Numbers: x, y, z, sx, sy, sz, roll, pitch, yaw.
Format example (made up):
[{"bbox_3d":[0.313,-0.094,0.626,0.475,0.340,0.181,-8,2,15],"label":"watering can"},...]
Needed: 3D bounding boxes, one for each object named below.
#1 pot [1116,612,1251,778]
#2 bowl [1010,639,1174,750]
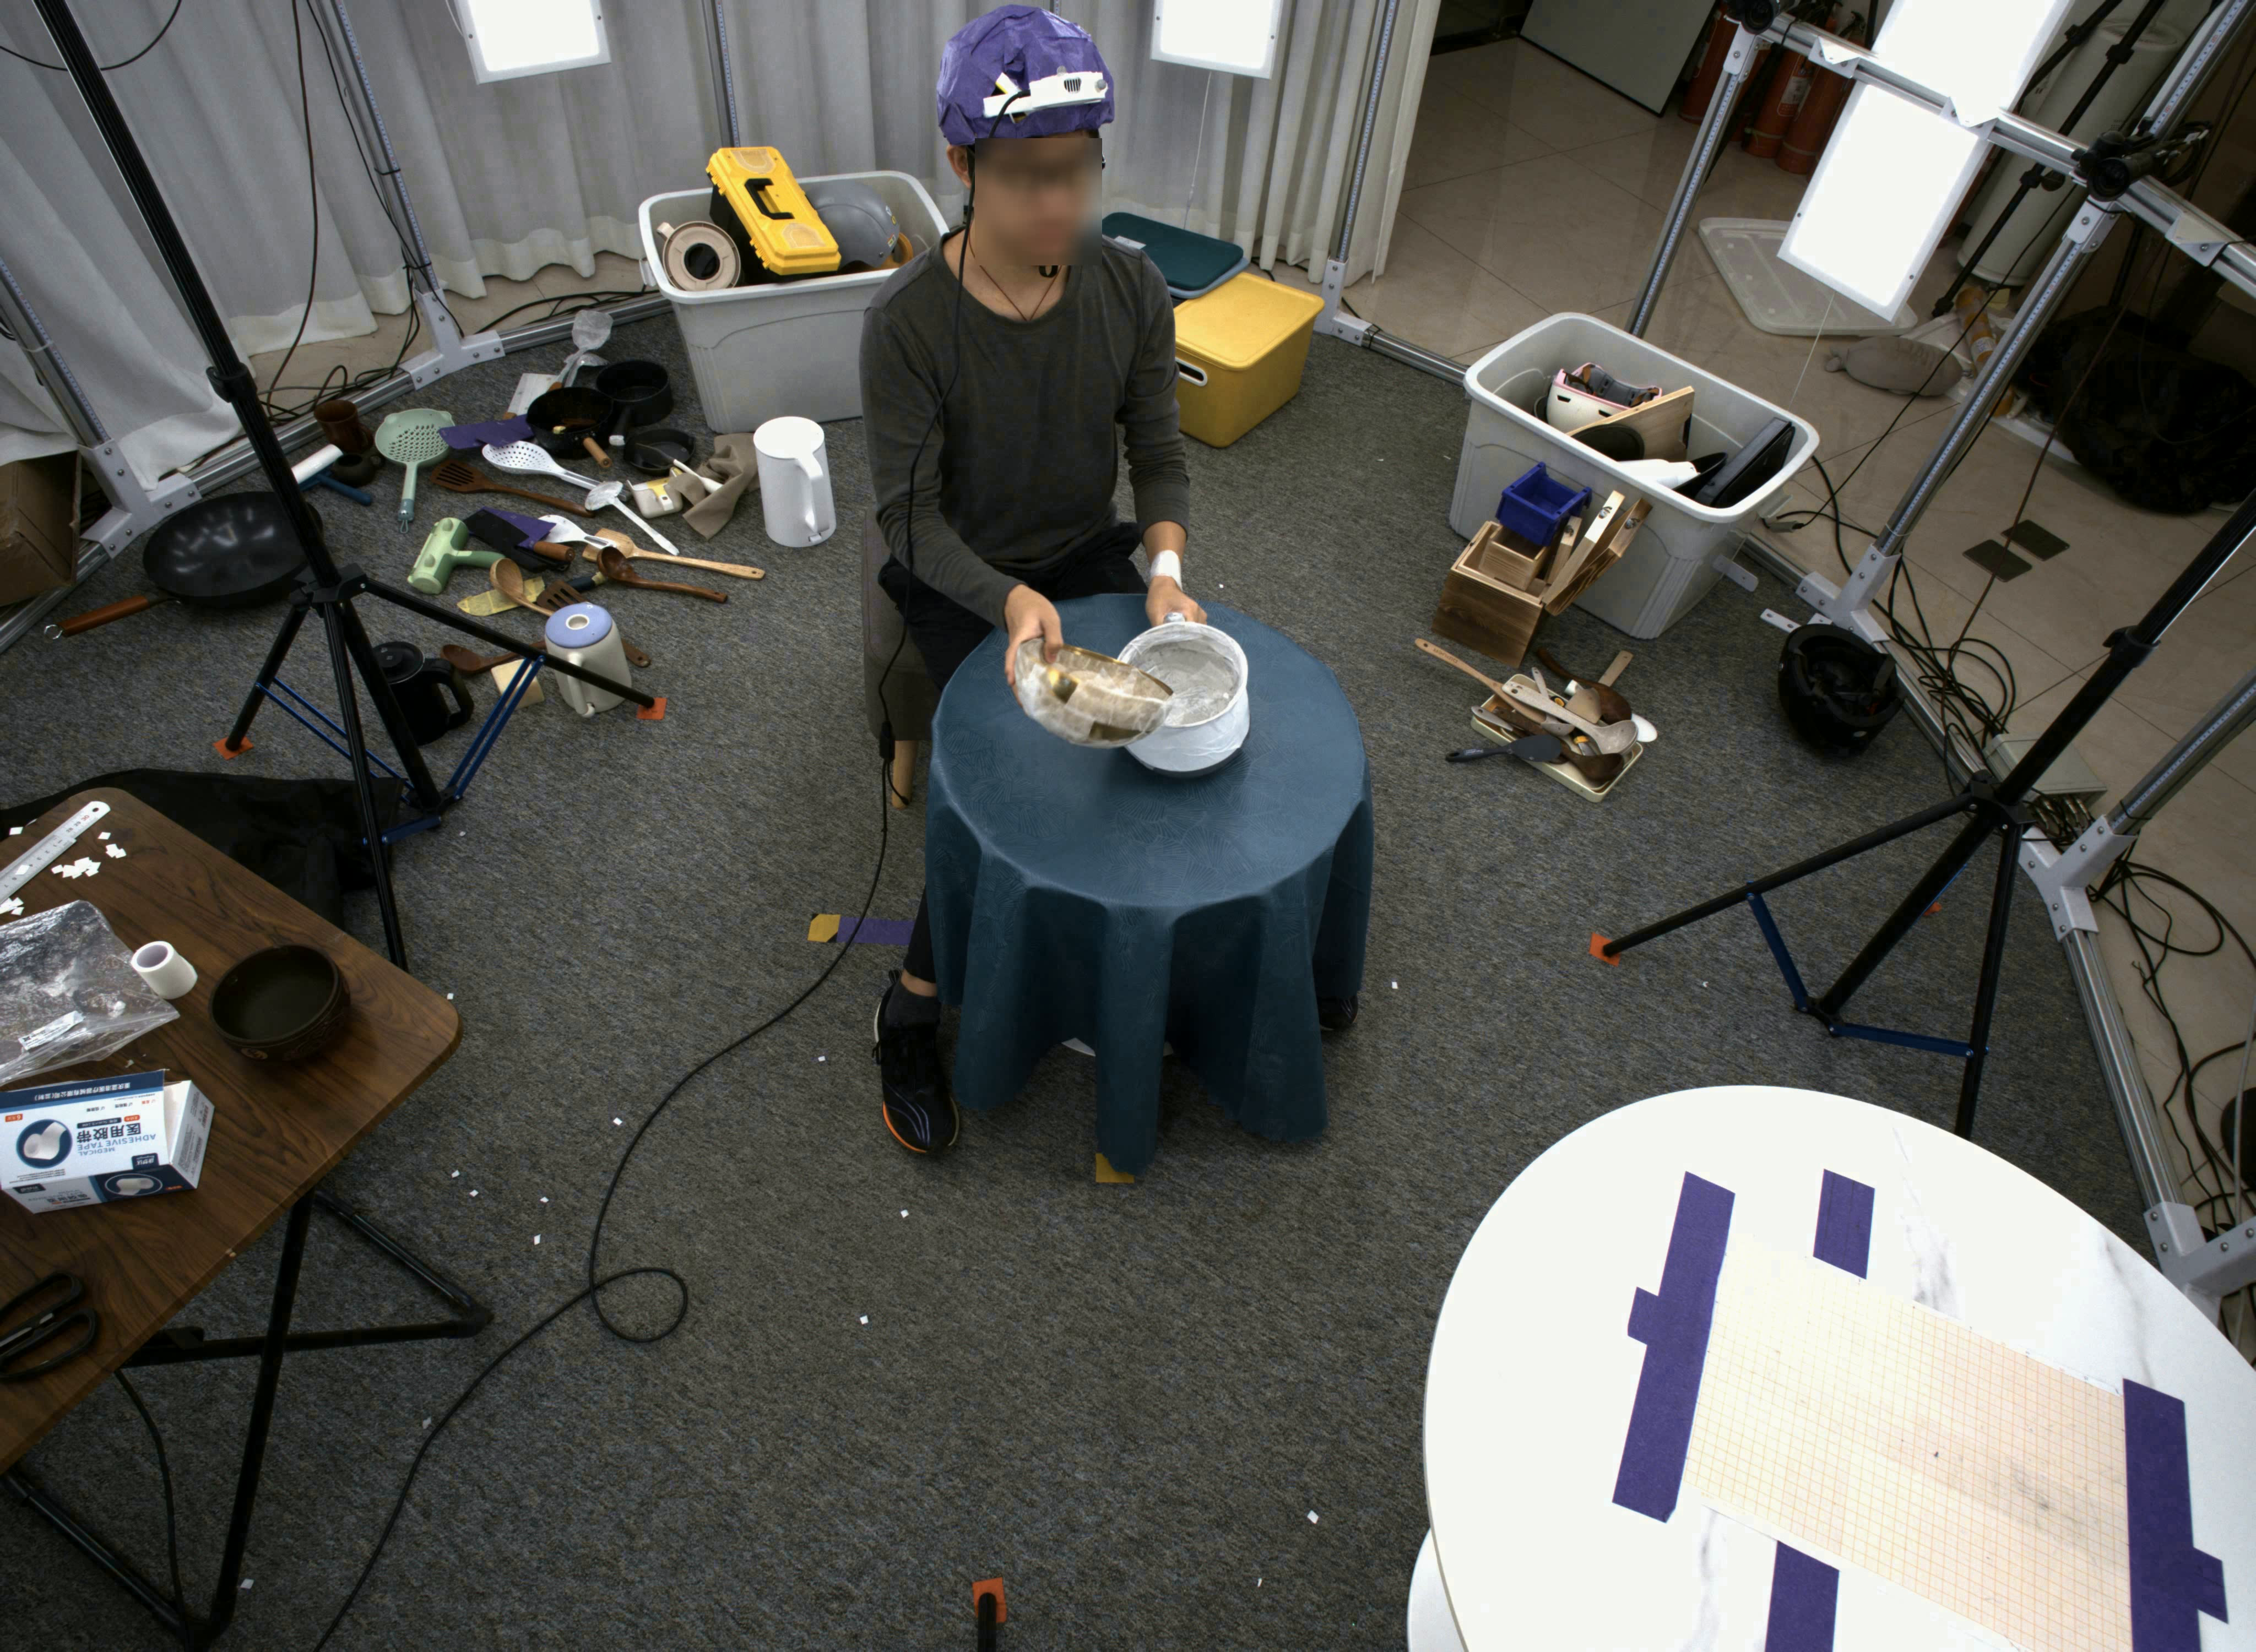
[{"bbox_3d":[0.072,-0.186,1.725,0.178,0.133,0.239,-7,55,3],"label":"pot"},{"bbox_3d":[-0.054,-0.150,1.560,0.214,0.093,0.218,15,19,-5],"label":"bowl"}]
